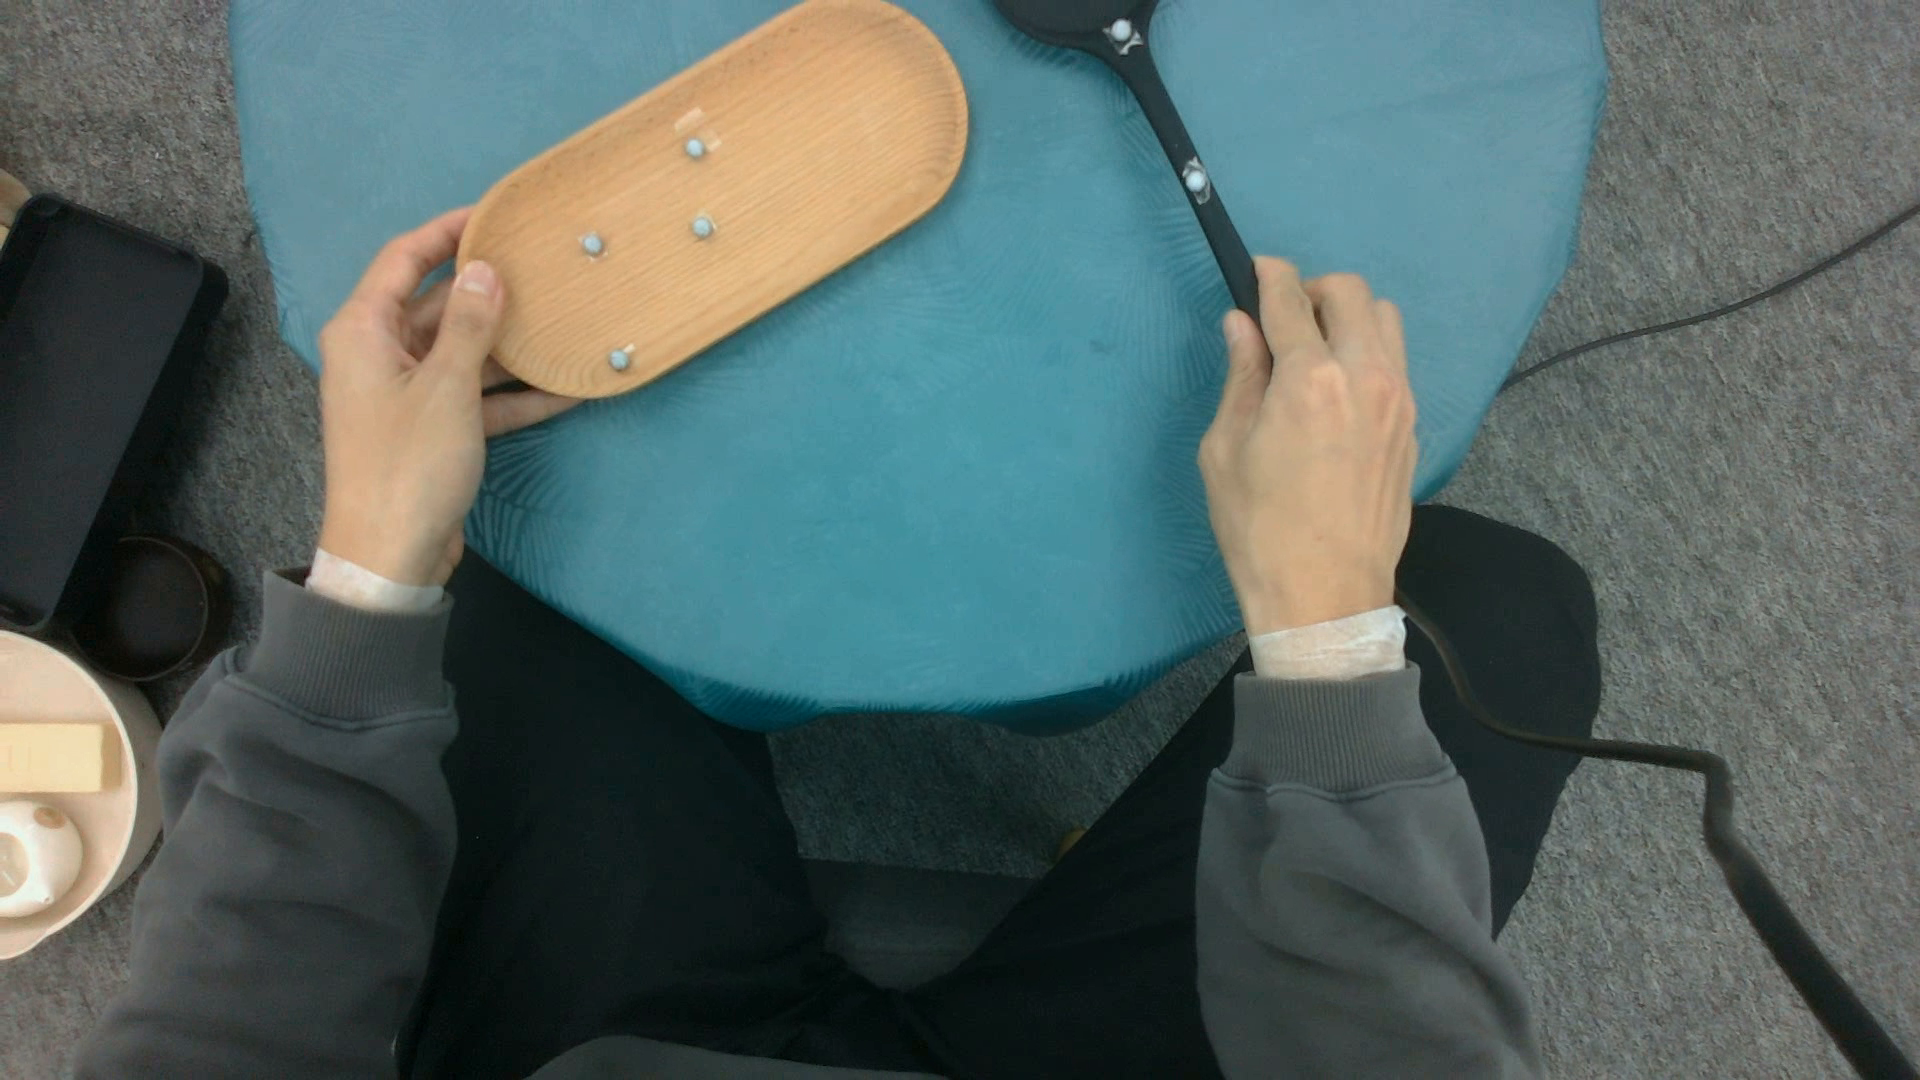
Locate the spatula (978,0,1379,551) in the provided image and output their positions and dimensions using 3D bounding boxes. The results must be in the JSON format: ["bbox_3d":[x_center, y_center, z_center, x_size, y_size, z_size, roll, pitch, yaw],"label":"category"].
[{"bbox_3d":[0.102,-0.143,0.585,0.100,0.040,0.326,-25,82,1],"label":"spatula"}]

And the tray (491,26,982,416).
[{"bbox_3d":[-0.096,-0.139,0.604,0.231,0.020,0.101,-32,93,-5],"label":"tray"}]
